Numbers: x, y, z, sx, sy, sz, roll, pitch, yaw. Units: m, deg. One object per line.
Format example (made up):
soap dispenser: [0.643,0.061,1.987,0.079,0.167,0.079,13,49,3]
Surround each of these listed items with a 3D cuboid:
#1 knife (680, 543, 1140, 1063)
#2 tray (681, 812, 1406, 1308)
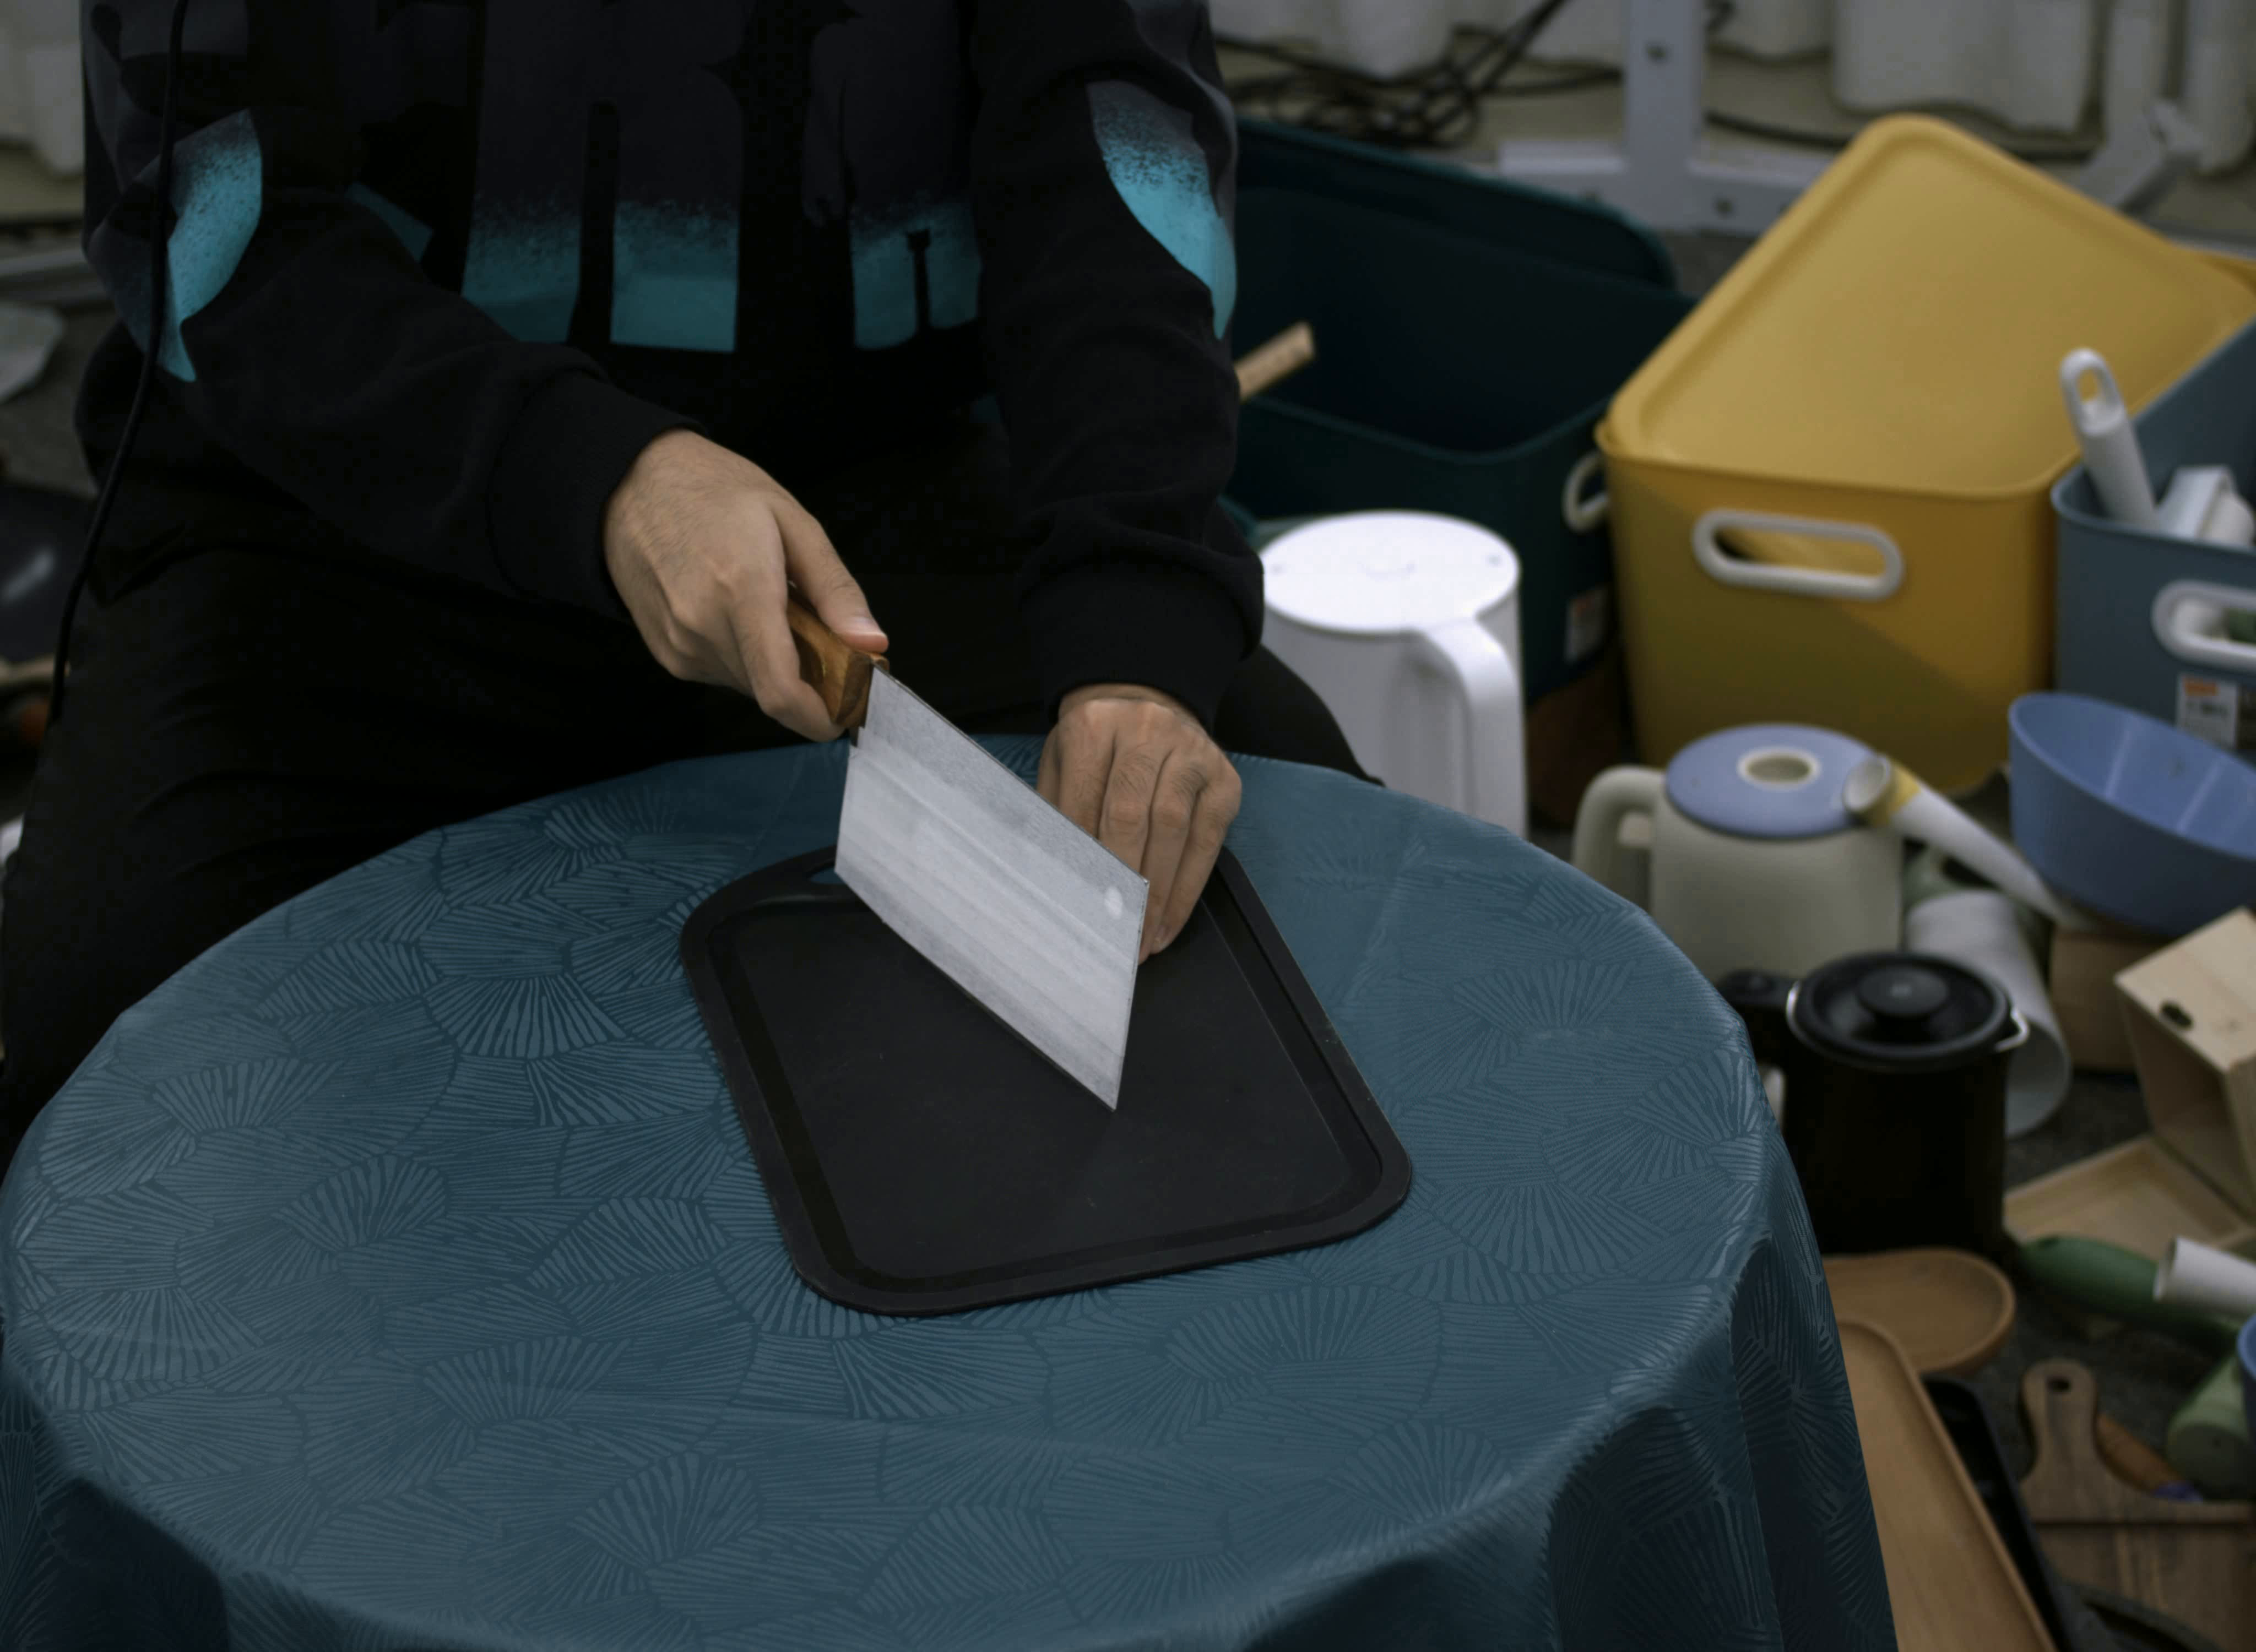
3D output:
knife: [-0.081,-0.007,1.996,0.021,0.092,0.307,-9,30,-33]
tray: [-0.038,0.072,1.953,0.211,0.009,0.329,-9,28,-11]
